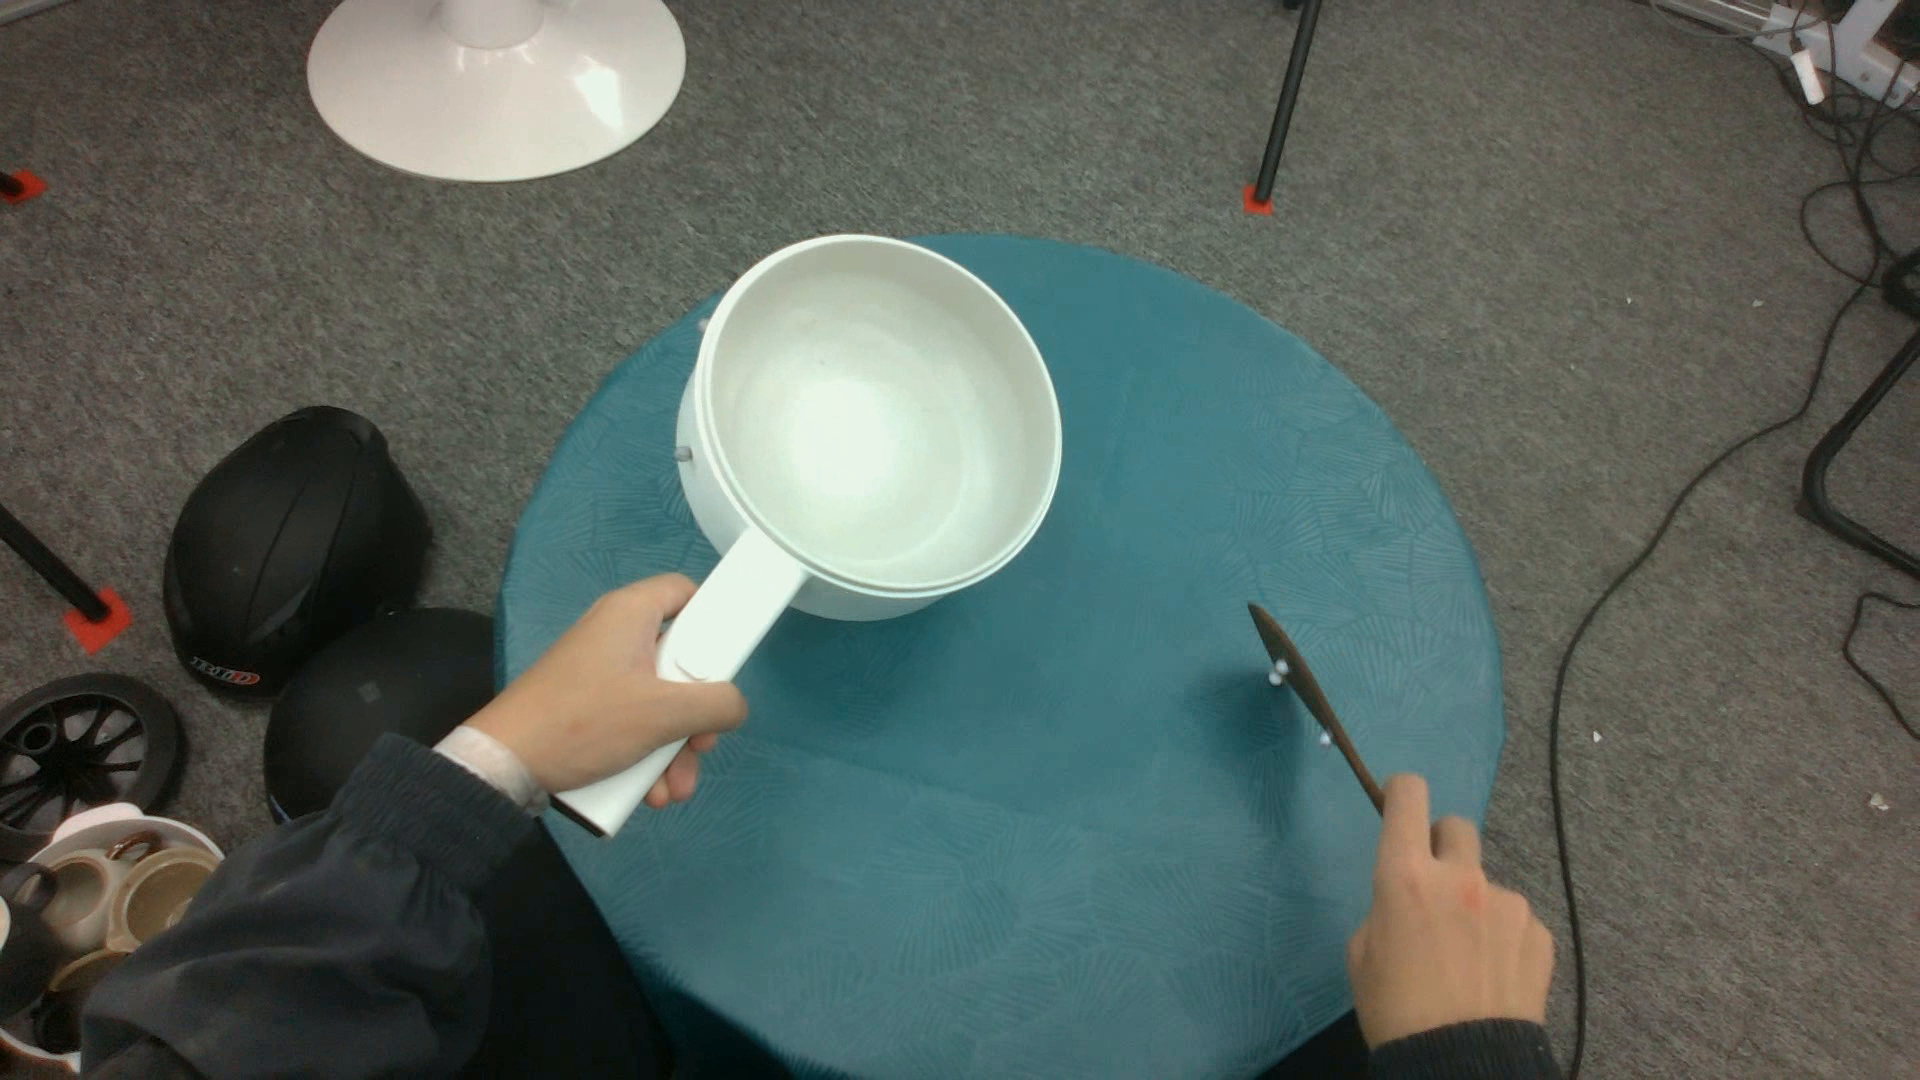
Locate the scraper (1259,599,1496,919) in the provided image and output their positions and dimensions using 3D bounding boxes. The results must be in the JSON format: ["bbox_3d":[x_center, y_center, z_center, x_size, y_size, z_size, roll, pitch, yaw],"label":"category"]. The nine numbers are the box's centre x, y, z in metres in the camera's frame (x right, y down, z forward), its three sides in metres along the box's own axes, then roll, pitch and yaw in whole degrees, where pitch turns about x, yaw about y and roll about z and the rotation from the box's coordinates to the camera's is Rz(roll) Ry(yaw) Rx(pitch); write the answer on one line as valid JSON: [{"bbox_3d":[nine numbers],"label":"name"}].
[{"bbox_3d":[0.220,0.112,0.730,0.011,0.075,0.212,-33,42,5],"label":"scraper"}]

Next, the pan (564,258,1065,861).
[{"bbox_3d":[-0.088,0.012,0.736,0.201,0.101,0.356,36,64,-8],"label":"pan"}]
